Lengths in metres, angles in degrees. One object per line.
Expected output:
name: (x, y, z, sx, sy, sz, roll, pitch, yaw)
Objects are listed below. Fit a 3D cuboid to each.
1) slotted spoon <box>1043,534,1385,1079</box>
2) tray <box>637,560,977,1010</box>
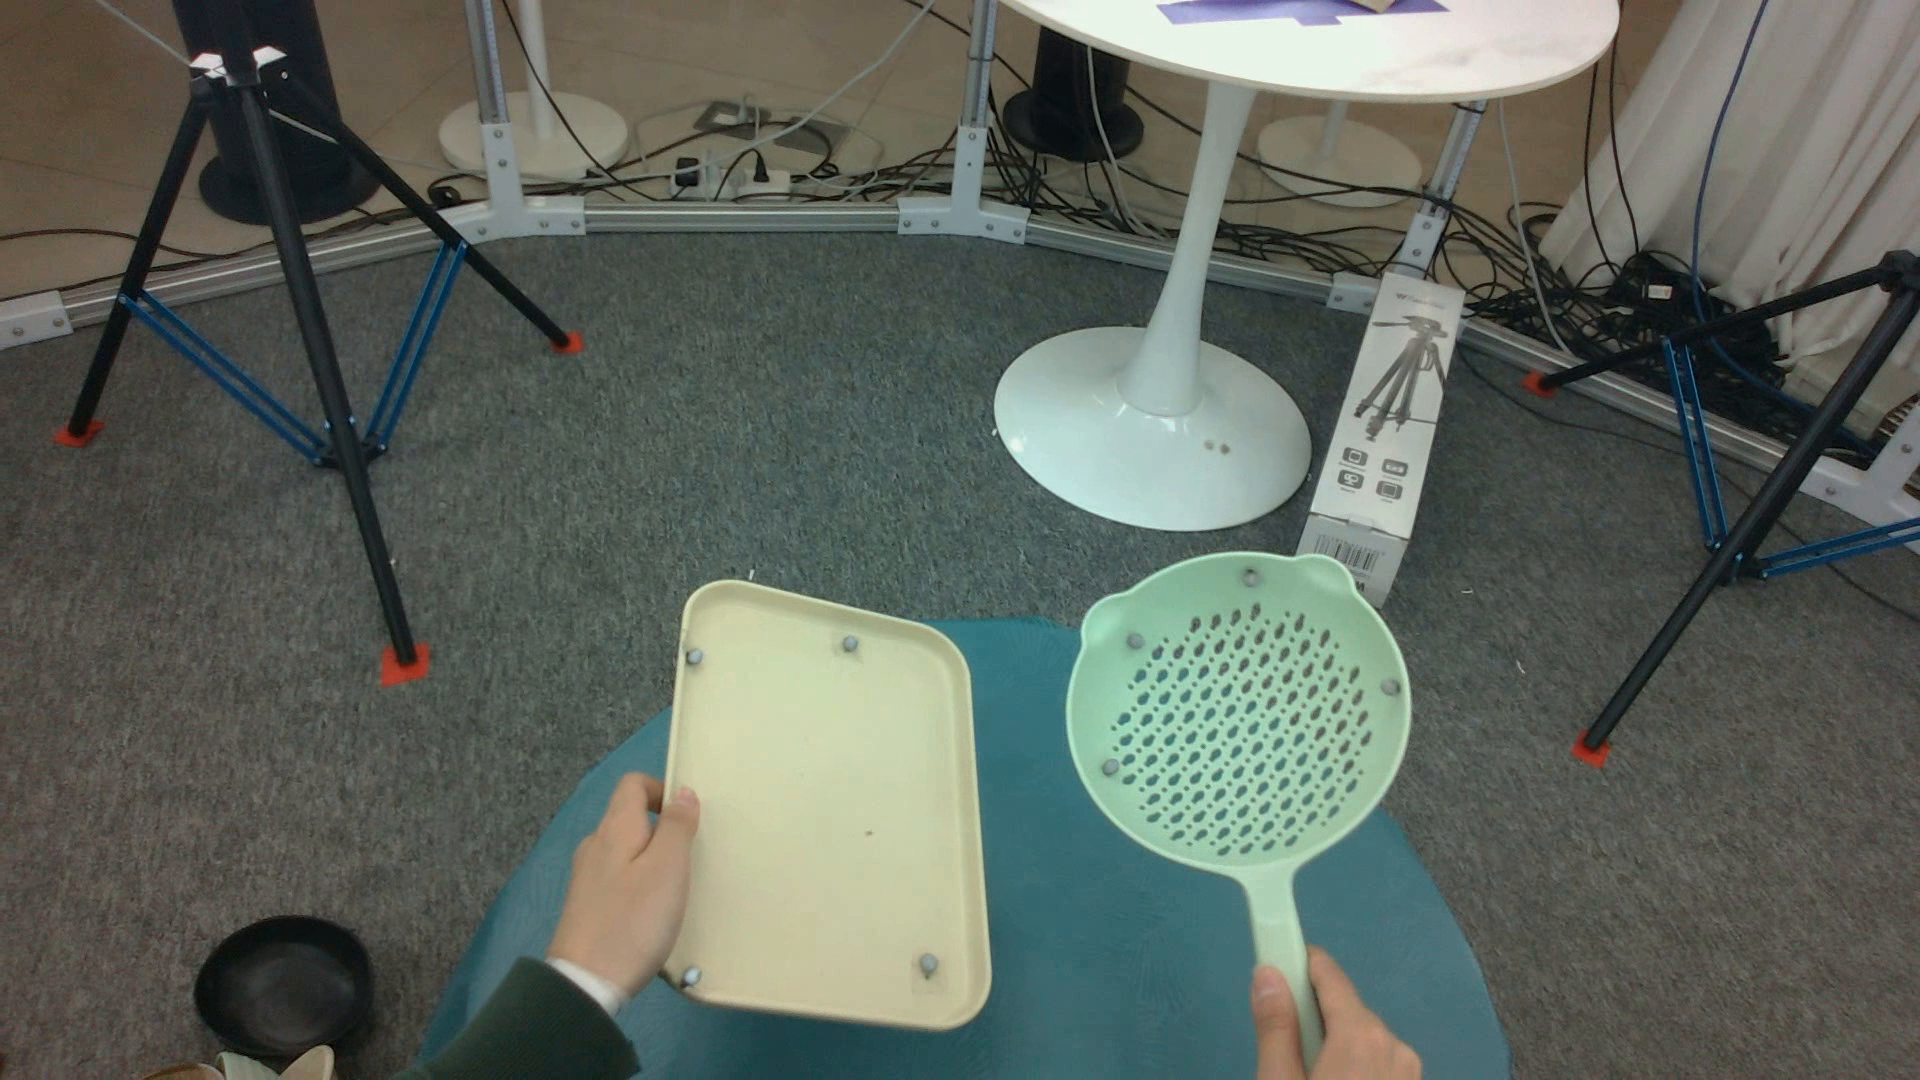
slotted spoon: (0.136, 0.162, 0.647, 0.169, 0.075, 0.360, -13, 51, 13)
tray: (-0.076, 0.120, 0.709, 0.171, 0.017, 0.241, 15, 46, -22)
